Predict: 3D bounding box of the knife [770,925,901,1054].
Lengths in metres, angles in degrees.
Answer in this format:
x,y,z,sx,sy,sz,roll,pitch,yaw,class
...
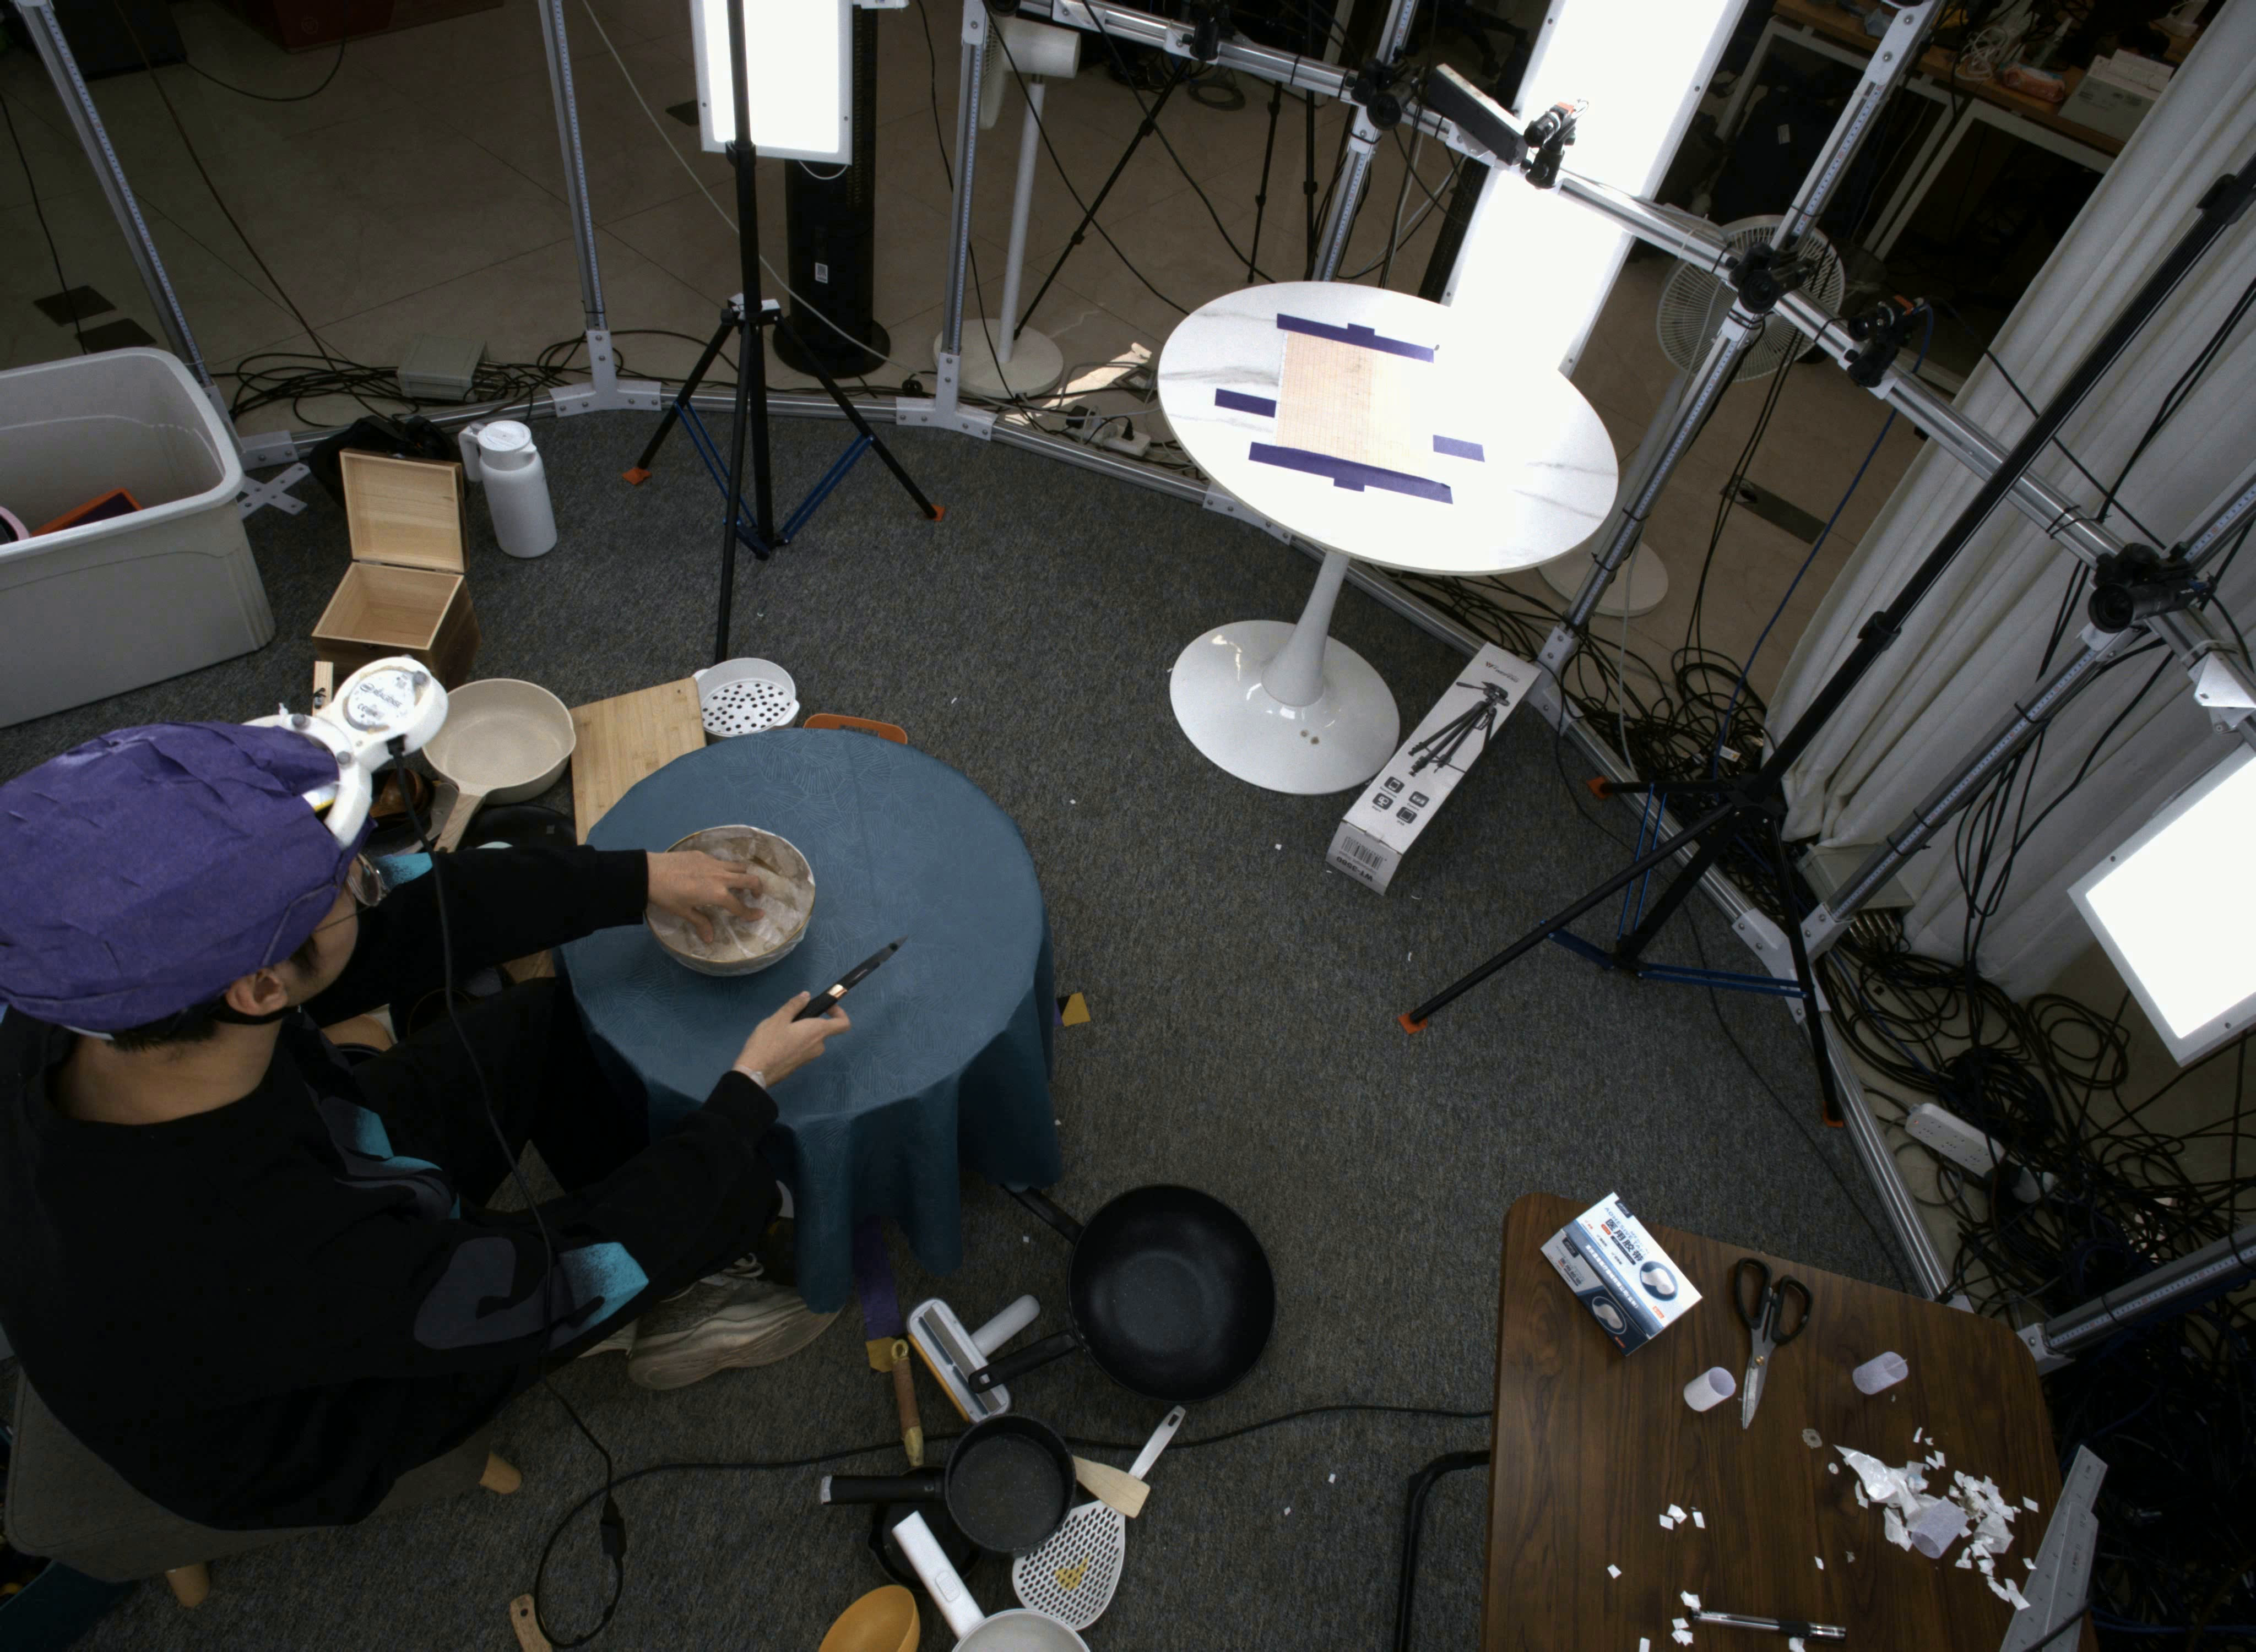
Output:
x,y,z,sx,sy,sz,roll,pitch,yaw,class
-0.330,0.181,1.491,0.025,0.018,0.225,19,44,27,knife

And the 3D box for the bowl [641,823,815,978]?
x,y,z,sx,sy,sz,roll,pitch,yaw,class
-0.483,0.104,1.557,0.214,0.096,0.211,9,51,-9,bowl
